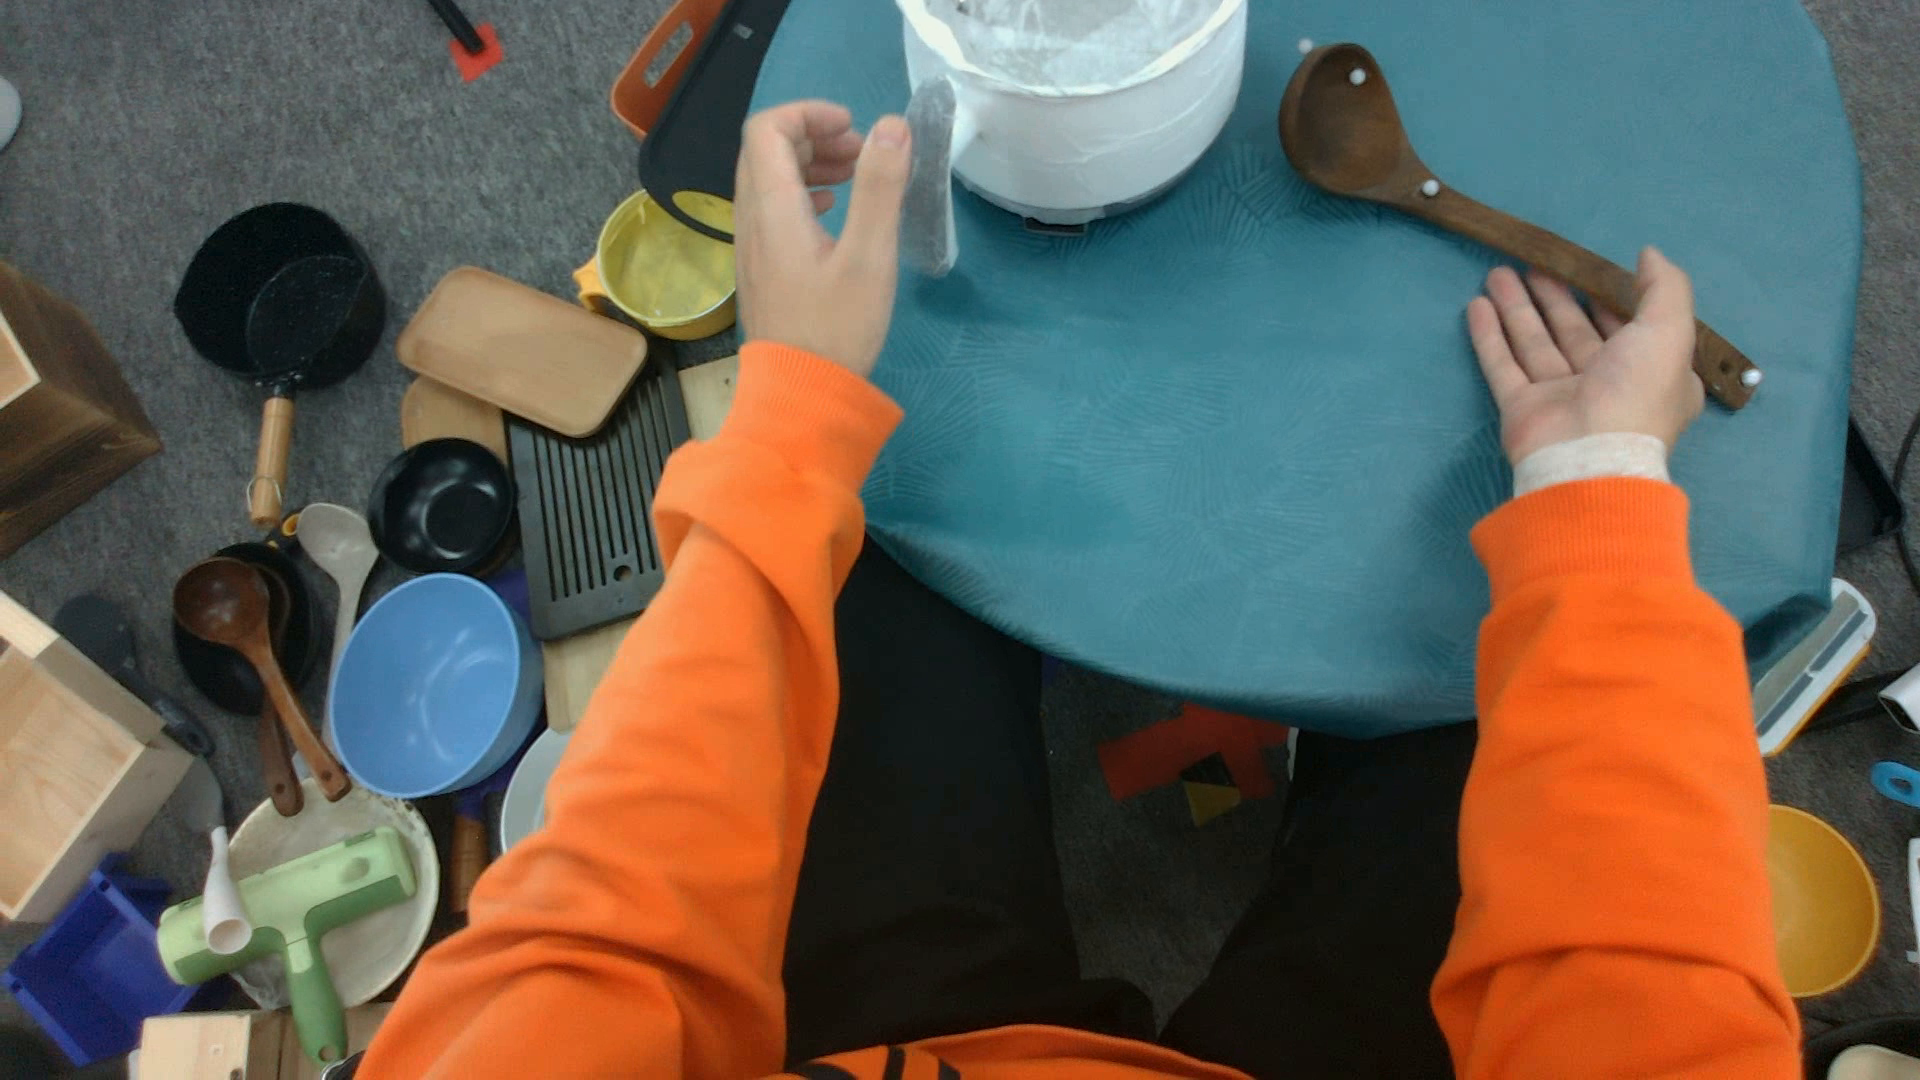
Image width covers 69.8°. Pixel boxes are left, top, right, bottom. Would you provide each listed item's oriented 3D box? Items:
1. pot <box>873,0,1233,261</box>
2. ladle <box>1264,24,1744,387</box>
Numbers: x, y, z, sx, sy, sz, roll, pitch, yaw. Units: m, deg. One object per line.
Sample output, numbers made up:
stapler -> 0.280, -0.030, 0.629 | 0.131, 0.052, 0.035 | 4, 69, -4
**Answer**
pot -> 0.036, -0.253, 0.704 | 0.179, 0.136, 0.234 | 34, 79, 14
ladle -> 0.276, -0.168, 0.693 | 0.274, 0.071, 0.076 | 35, 82, 14
